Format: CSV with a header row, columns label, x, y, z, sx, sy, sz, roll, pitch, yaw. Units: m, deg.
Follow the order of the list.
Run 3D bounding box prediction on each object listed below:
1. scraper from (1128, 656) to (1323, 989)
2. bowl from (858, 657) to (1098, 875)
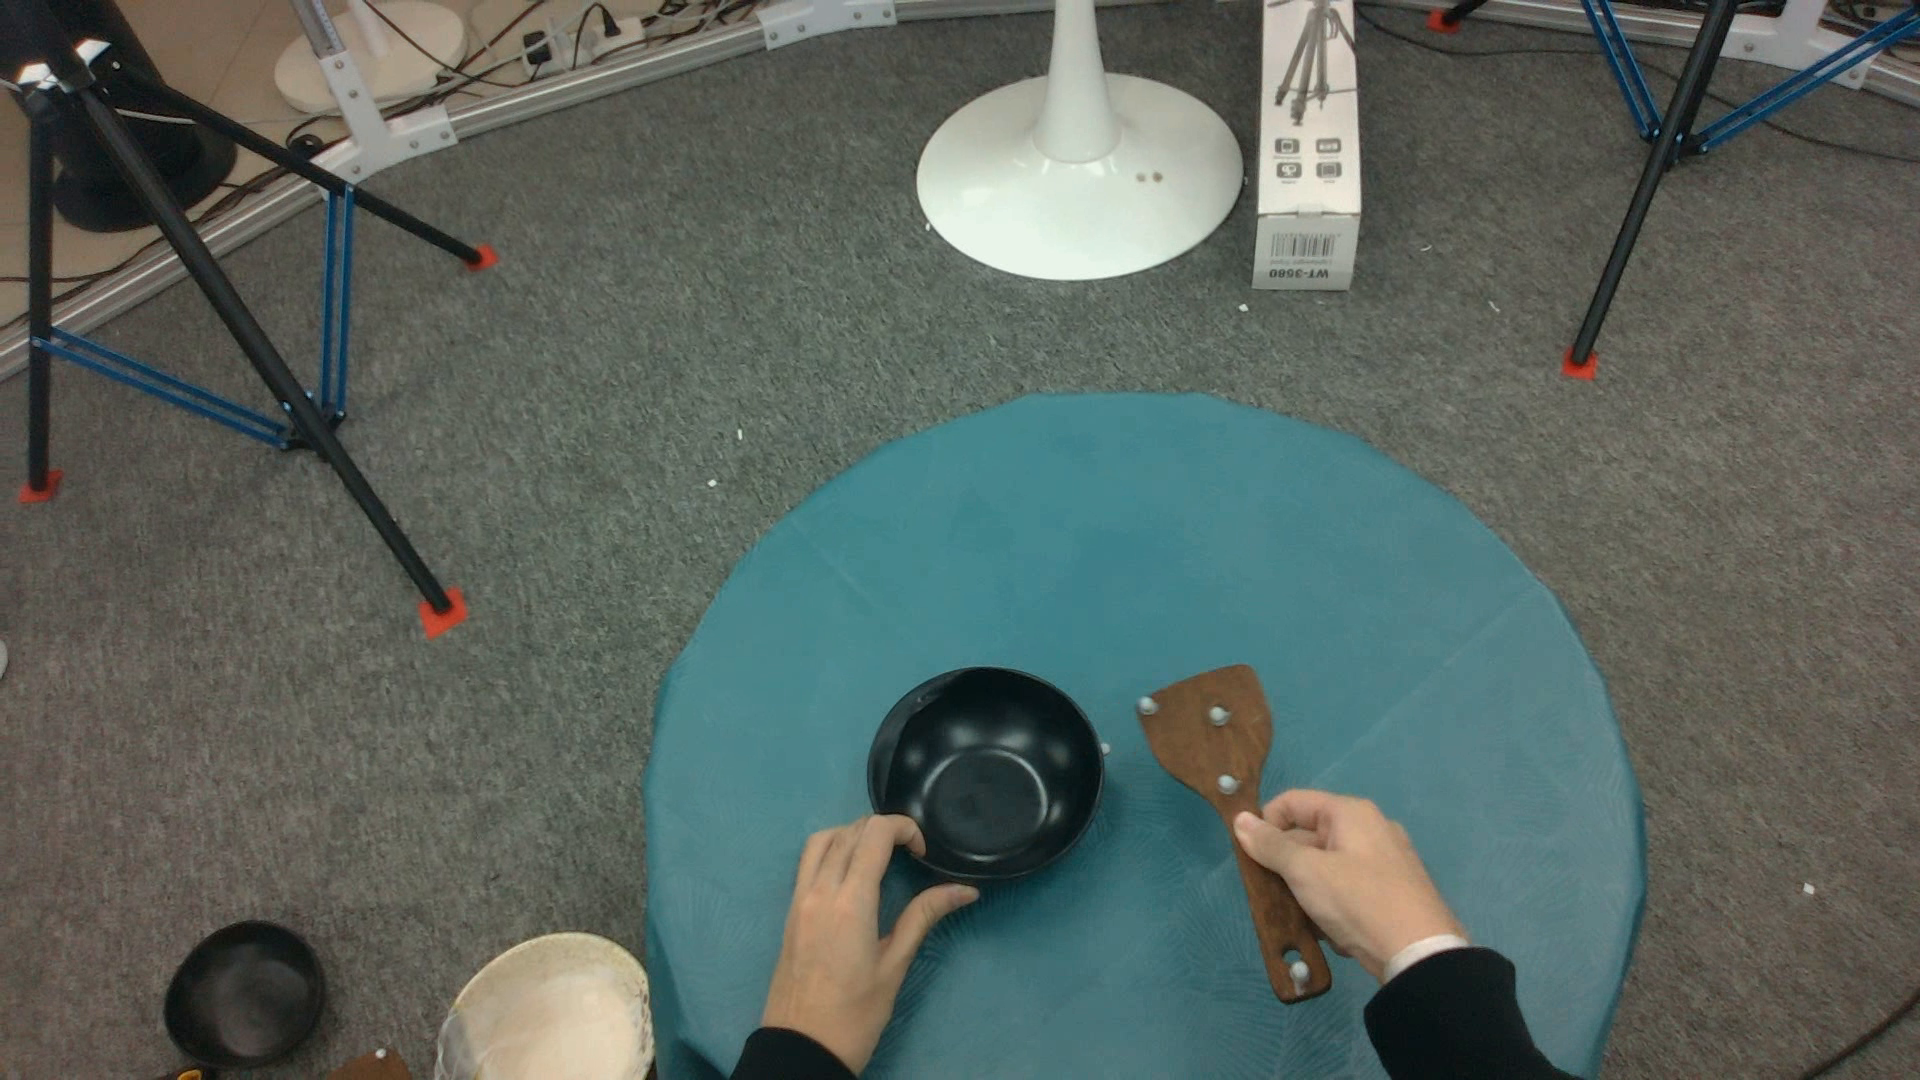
label,x,y,z,sx,sy,sz,roll,pitch,yaw
scraper,0.144,0.141,0.718,0.076,0.011,0.212,-20,37,6
bowl,0.010,0.139,0.810,0.140,0.049,0.140,1,50,-1
